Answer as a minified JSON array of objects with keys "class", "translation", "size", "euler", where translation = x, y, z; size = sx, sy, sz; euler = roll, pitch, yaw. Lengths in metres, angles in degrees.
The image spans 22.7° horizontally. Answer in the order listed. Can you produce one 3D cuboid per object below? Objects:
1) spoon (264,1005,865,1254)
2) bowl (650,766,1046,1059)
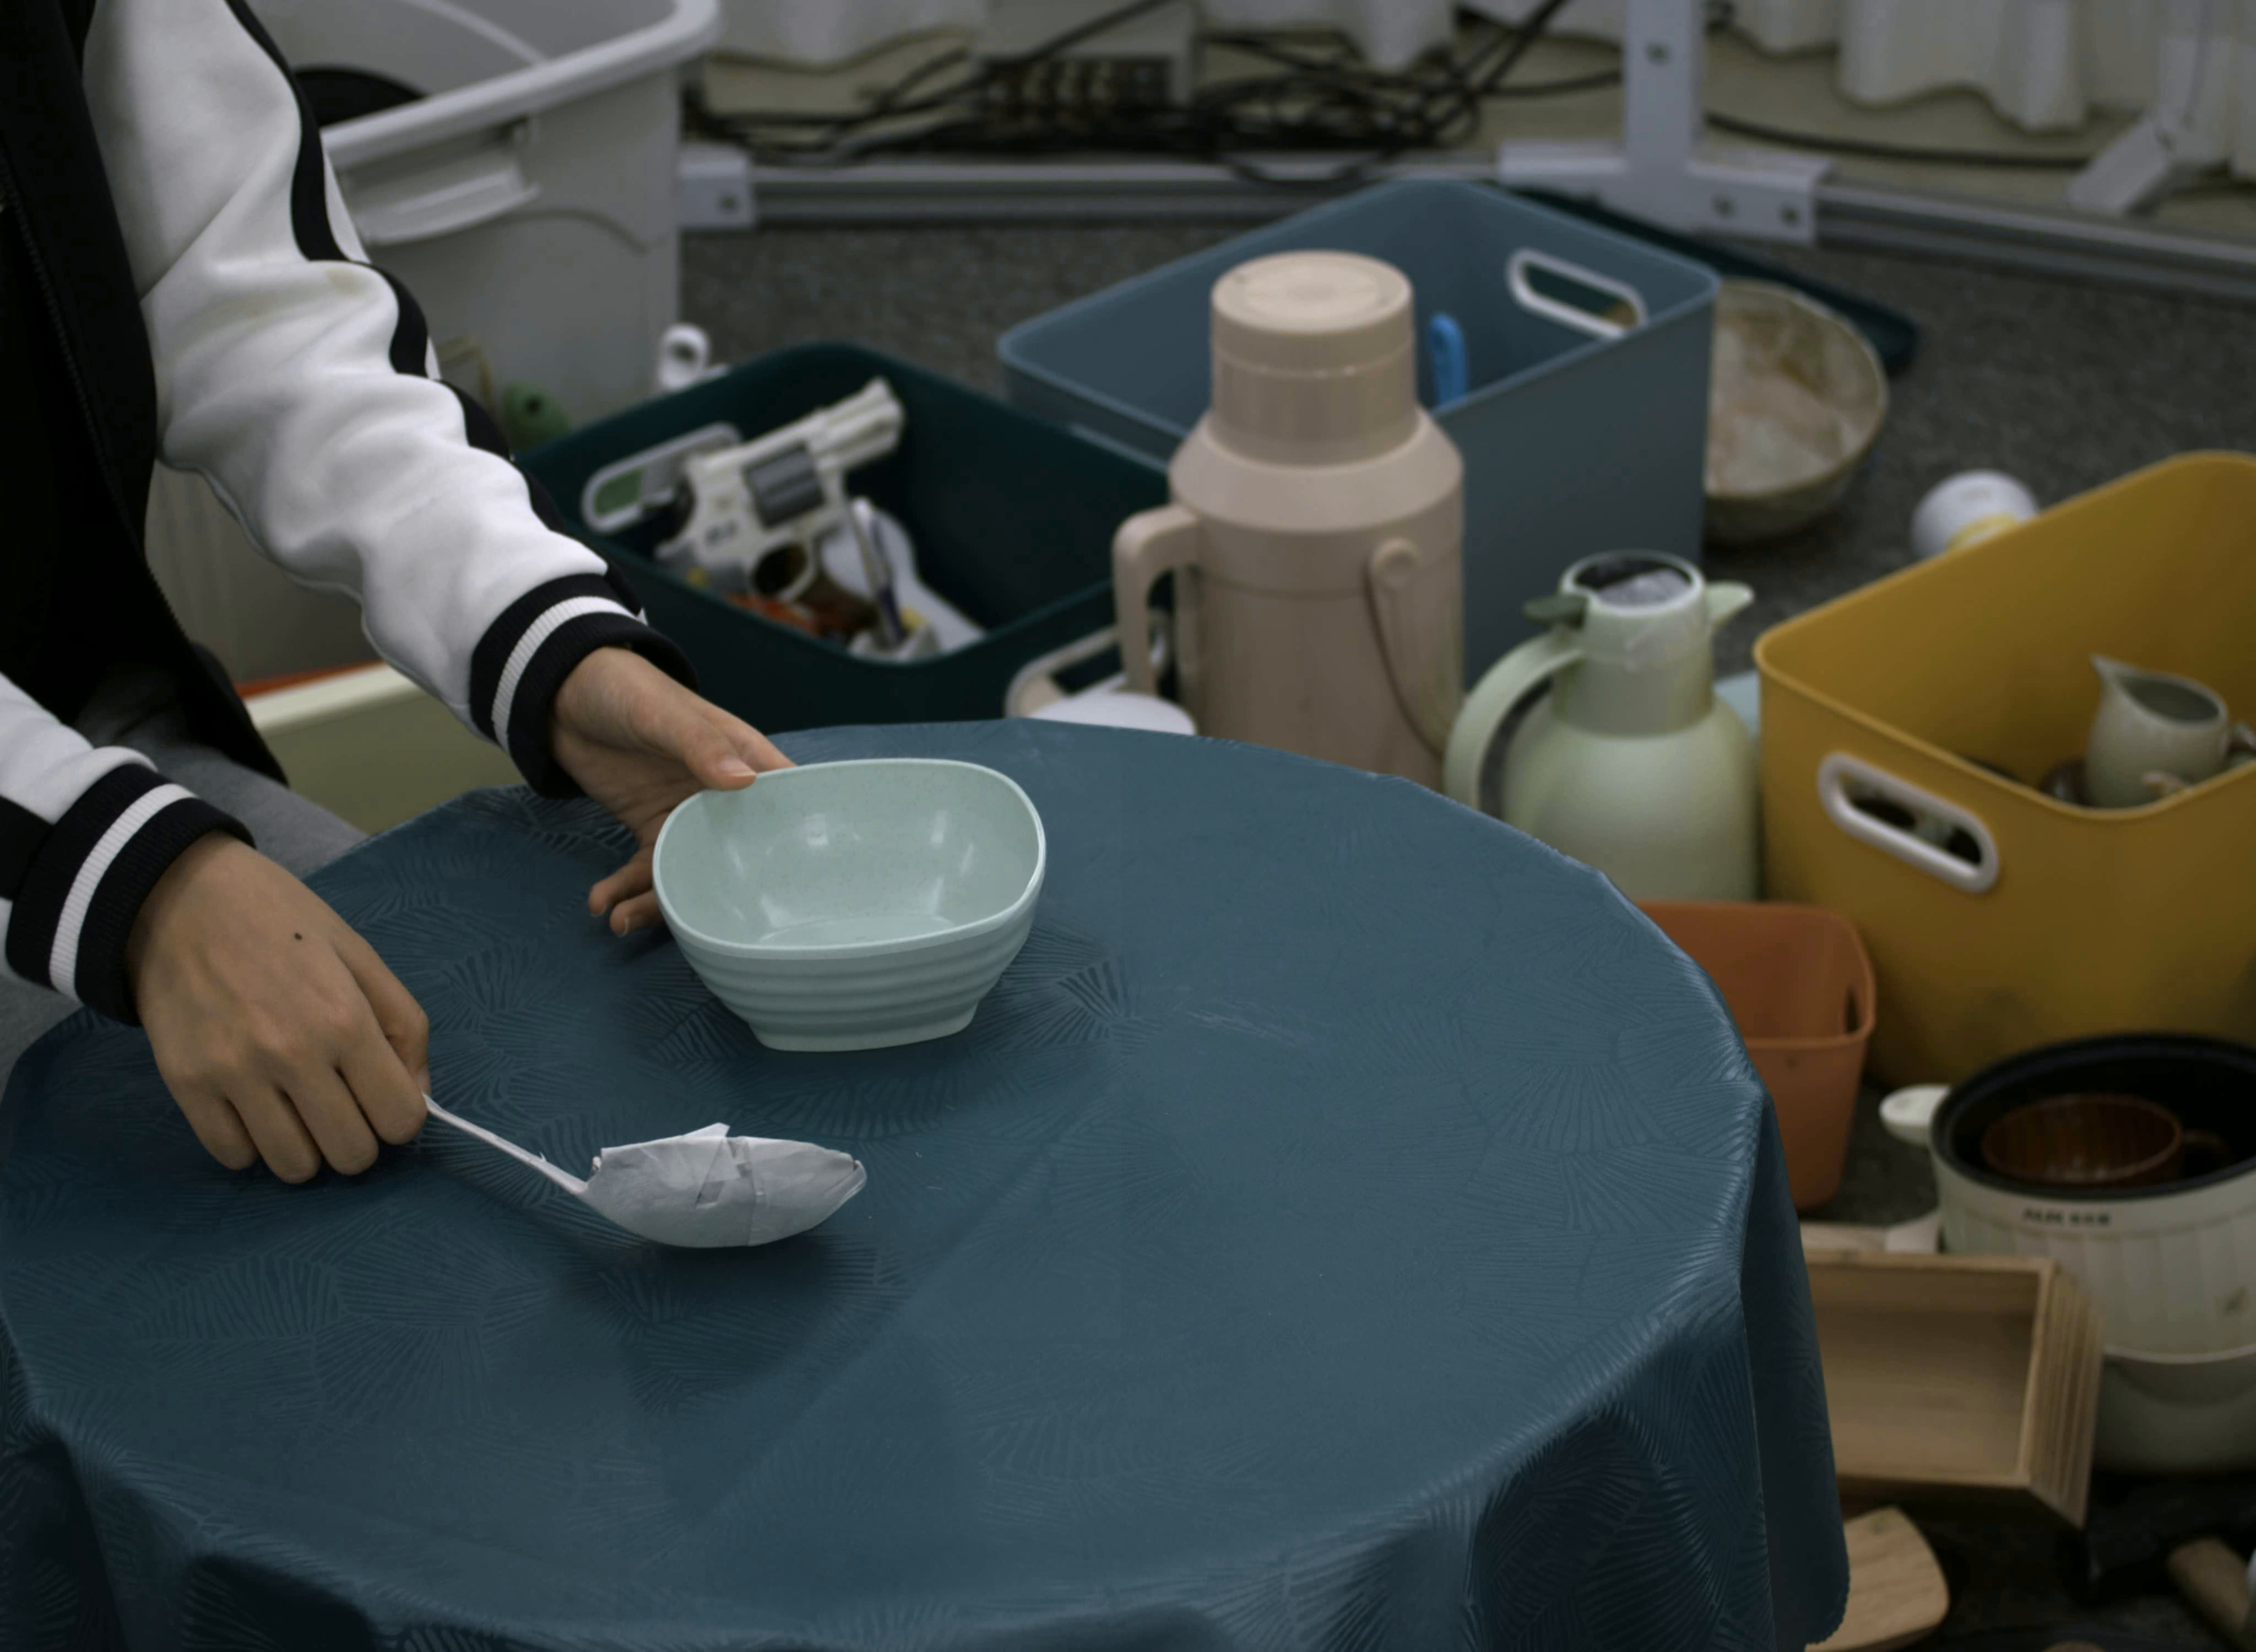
[{"class":"spoon","translation":[-0.195,0.086,1.884],"size":[0.277,0.060,0.100],"euler":[24,-4,44]},{"class":"bowl","translation":[-0.097,0.036,1.979],"size":[0.151,0.058,0.154],"euler":[-2,27,1]}]
